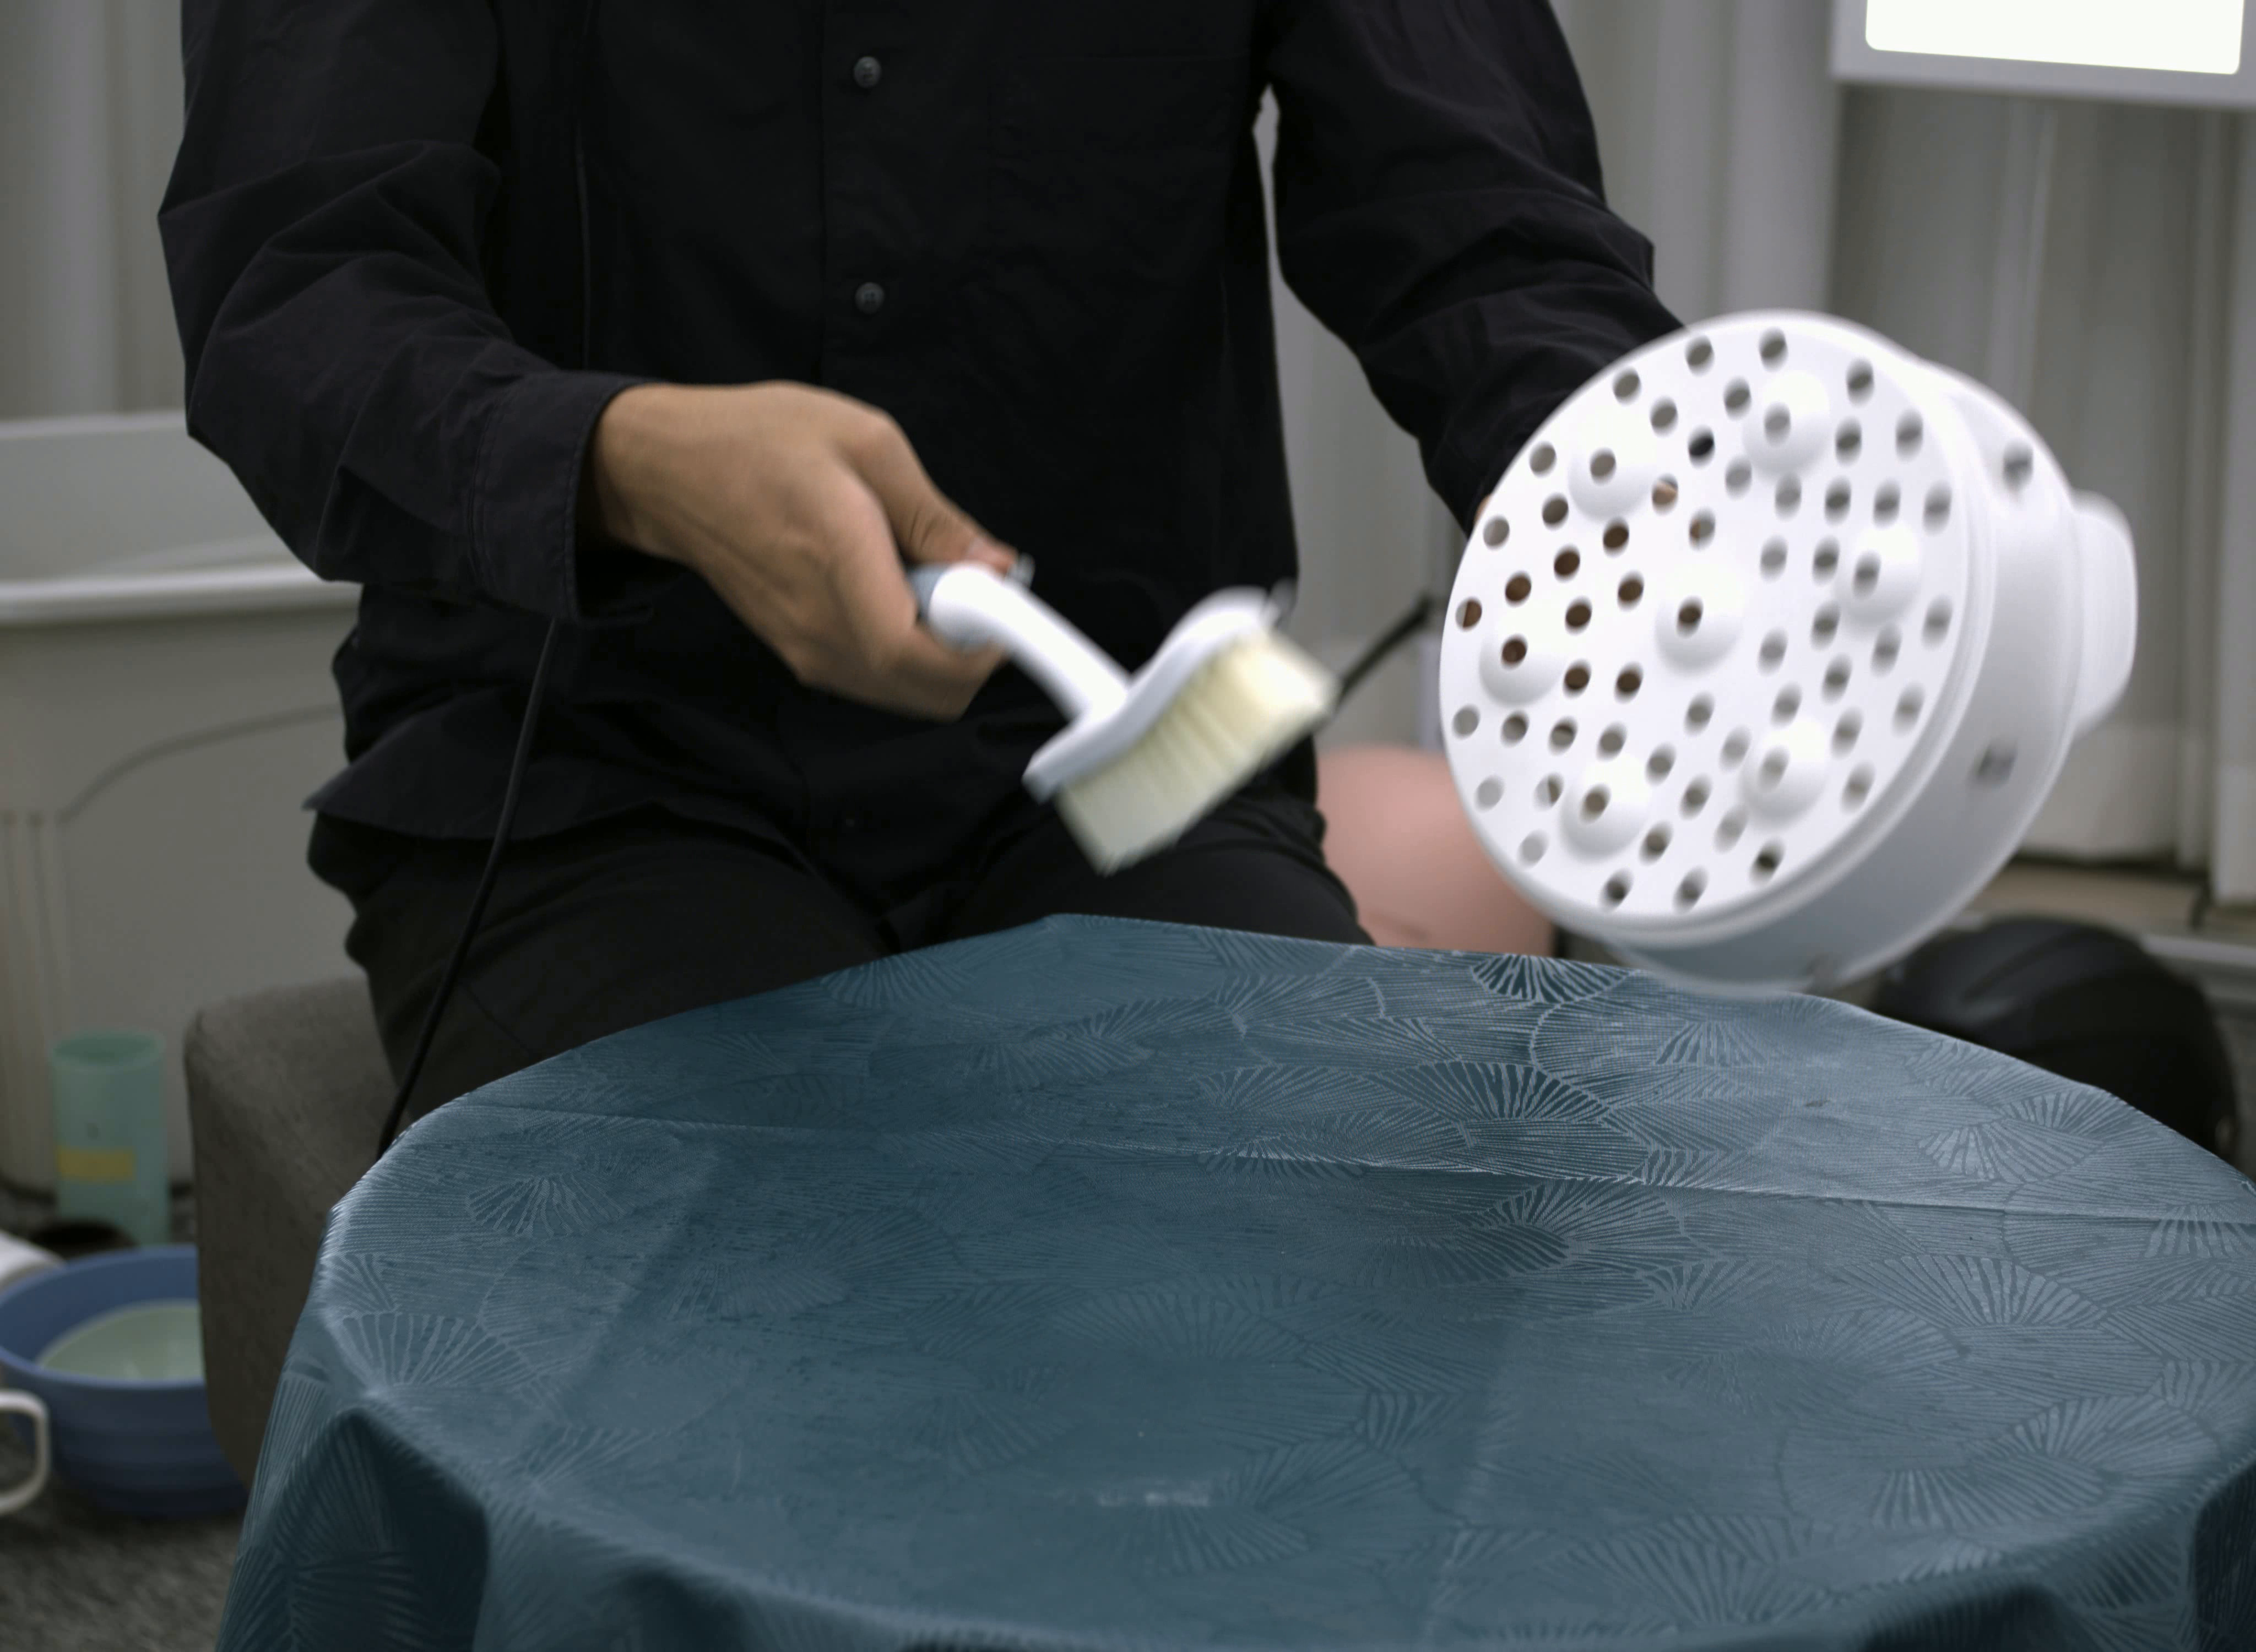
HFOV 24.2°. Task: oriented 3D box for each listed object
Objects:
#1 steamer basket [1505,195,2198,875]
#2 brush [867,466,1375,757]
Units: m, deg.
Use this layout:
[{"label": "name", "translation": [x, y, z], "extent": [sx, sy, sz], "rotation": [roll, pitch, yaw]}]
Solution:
[{"label": "steamer basket", "translation": [0.206, -0.090, 1.588], "extent": [0.228, 0.201, 0.070], "rotation": [-13, -25, 36]}, {"label": "brush", "translation": [0.001, -0.066, 1.609], "extent": [0.083, 0.085, 0.323], "rotation": [0, 4, -21]}]
